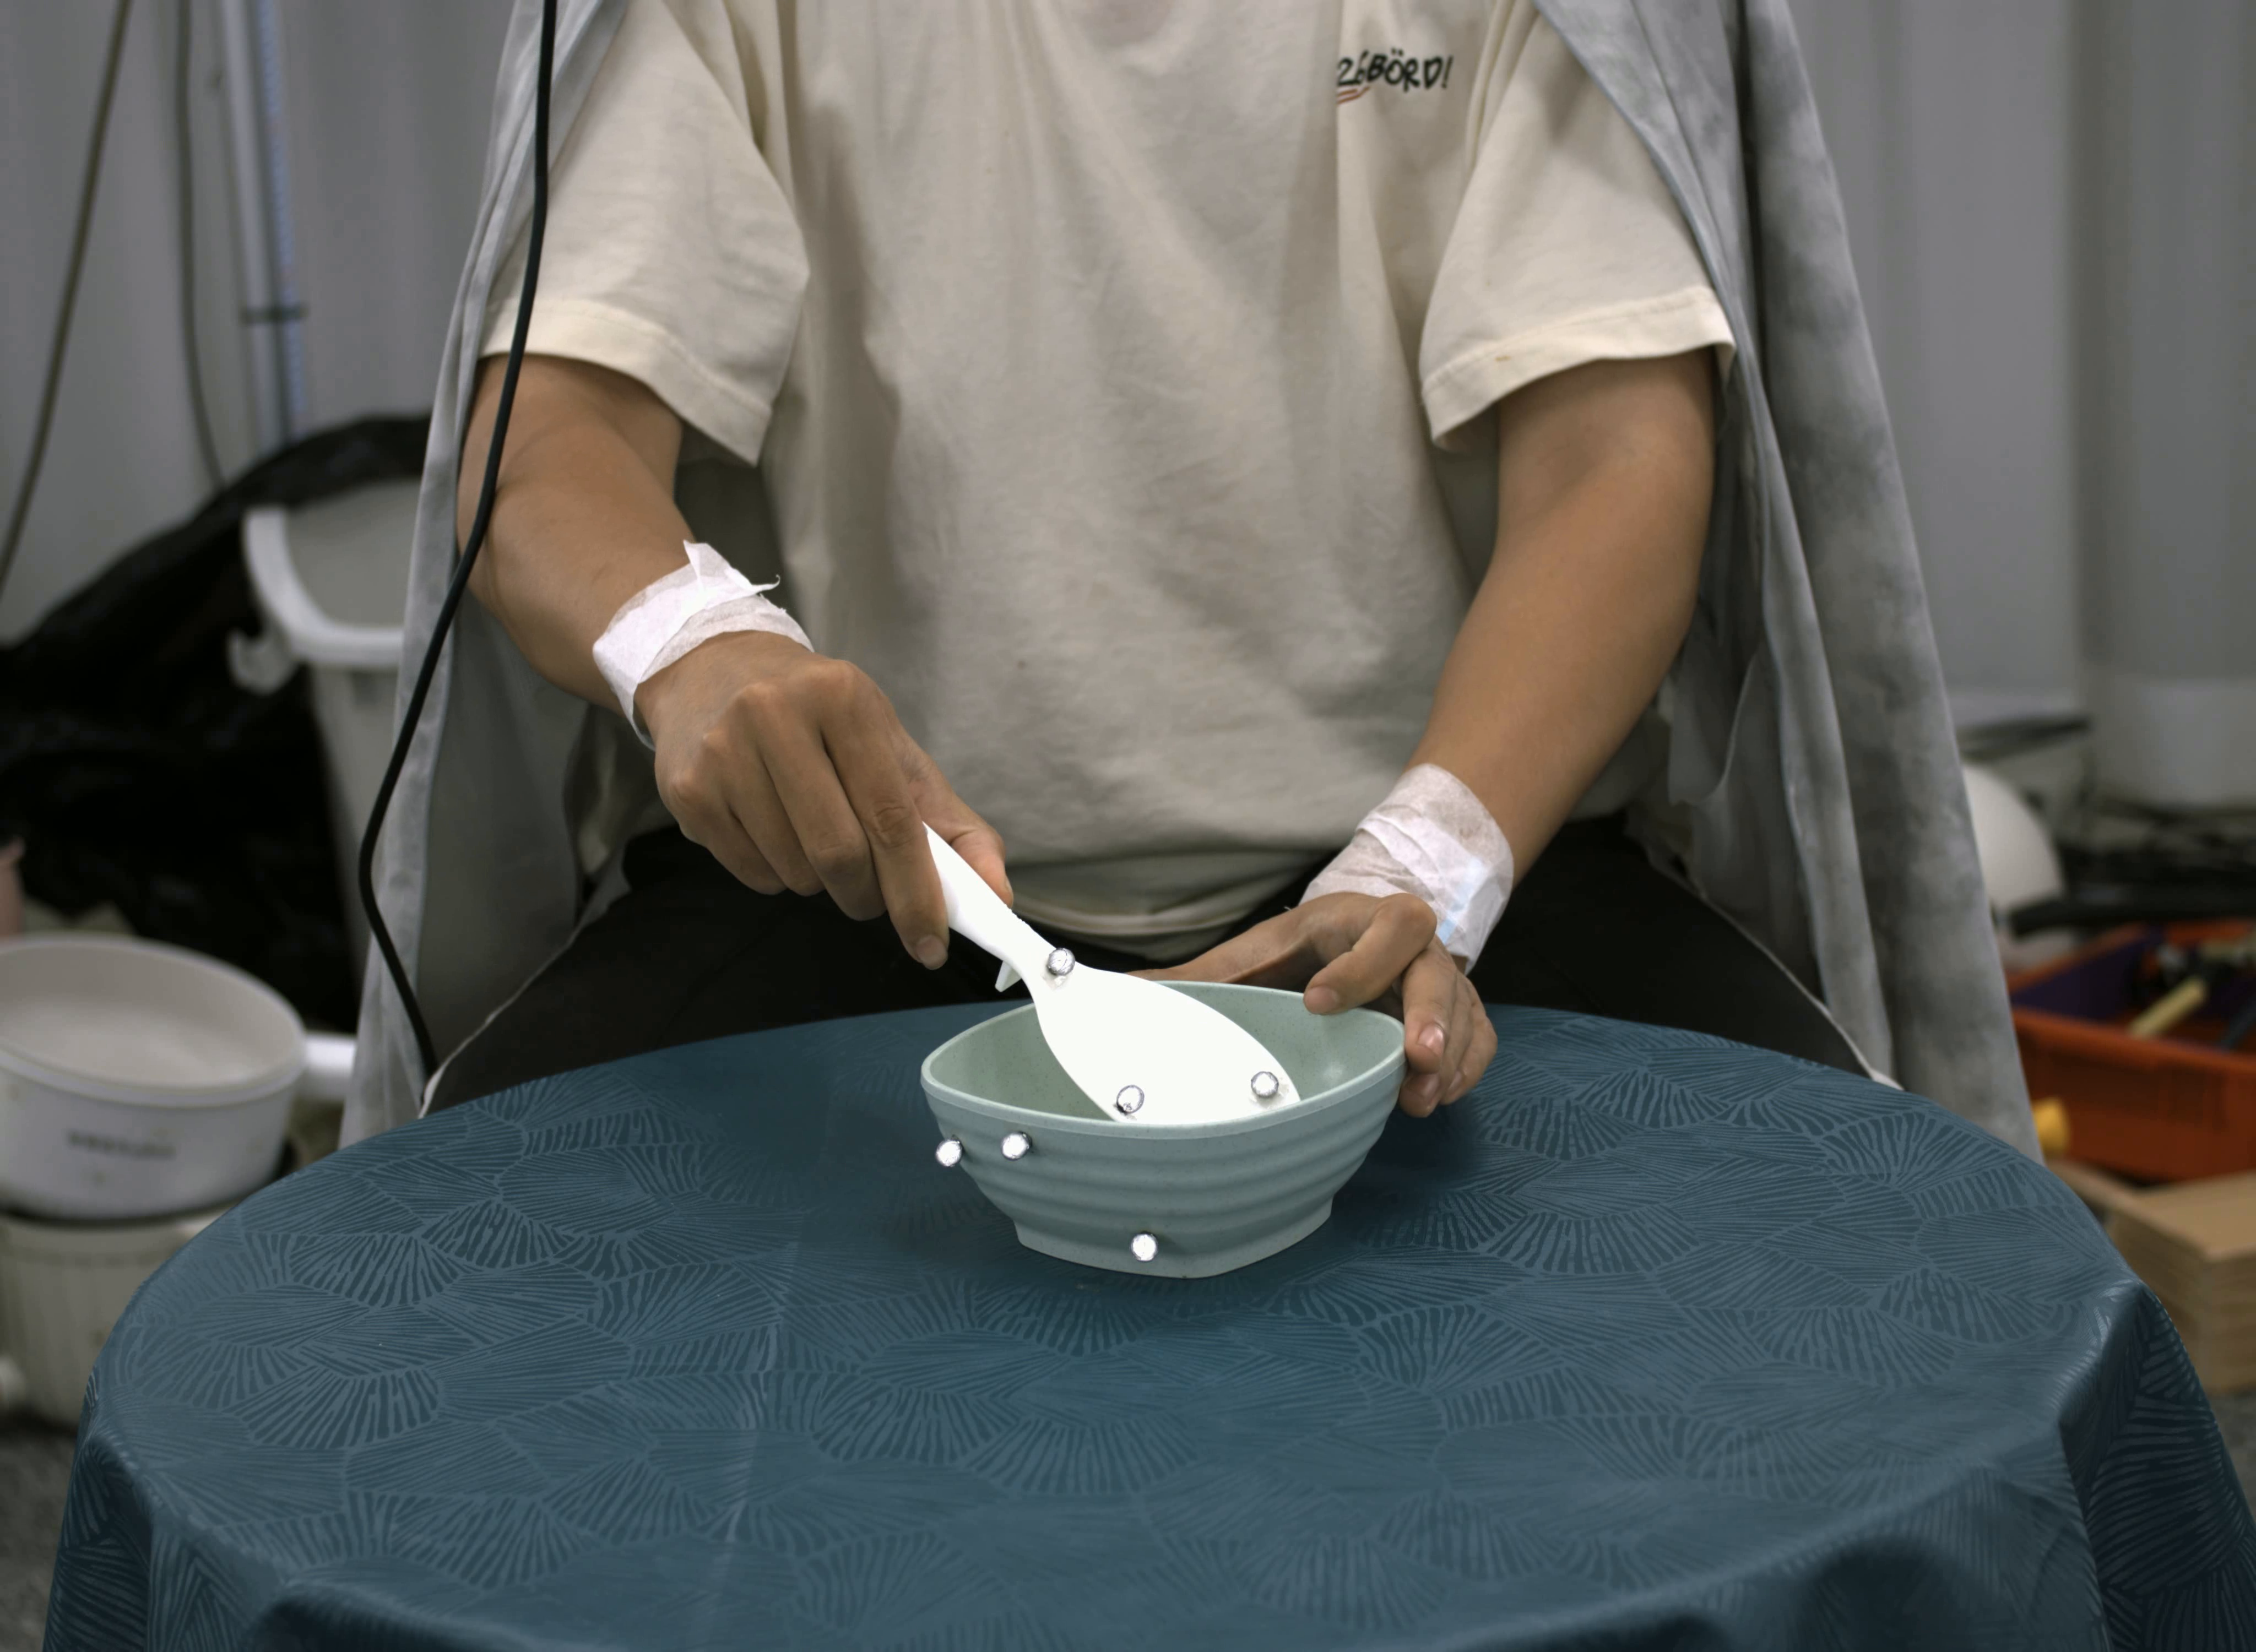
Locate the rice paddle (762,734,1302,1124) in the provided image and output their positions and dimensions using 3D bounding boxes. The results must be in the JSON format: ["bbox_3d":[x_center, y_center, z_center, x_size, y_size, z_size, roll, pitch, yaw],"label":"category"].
[{"bbox_3d":[-0.028,0.041,1.698,0.206,0.029,0.069,37,41,18],"label":"rice paddle"}]

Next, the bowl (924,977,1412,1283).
[{"bbox_3d":[0.014,0.097,1.676,0.151,0.058,0.152,-5,16,1],"label":"bowl"}]
